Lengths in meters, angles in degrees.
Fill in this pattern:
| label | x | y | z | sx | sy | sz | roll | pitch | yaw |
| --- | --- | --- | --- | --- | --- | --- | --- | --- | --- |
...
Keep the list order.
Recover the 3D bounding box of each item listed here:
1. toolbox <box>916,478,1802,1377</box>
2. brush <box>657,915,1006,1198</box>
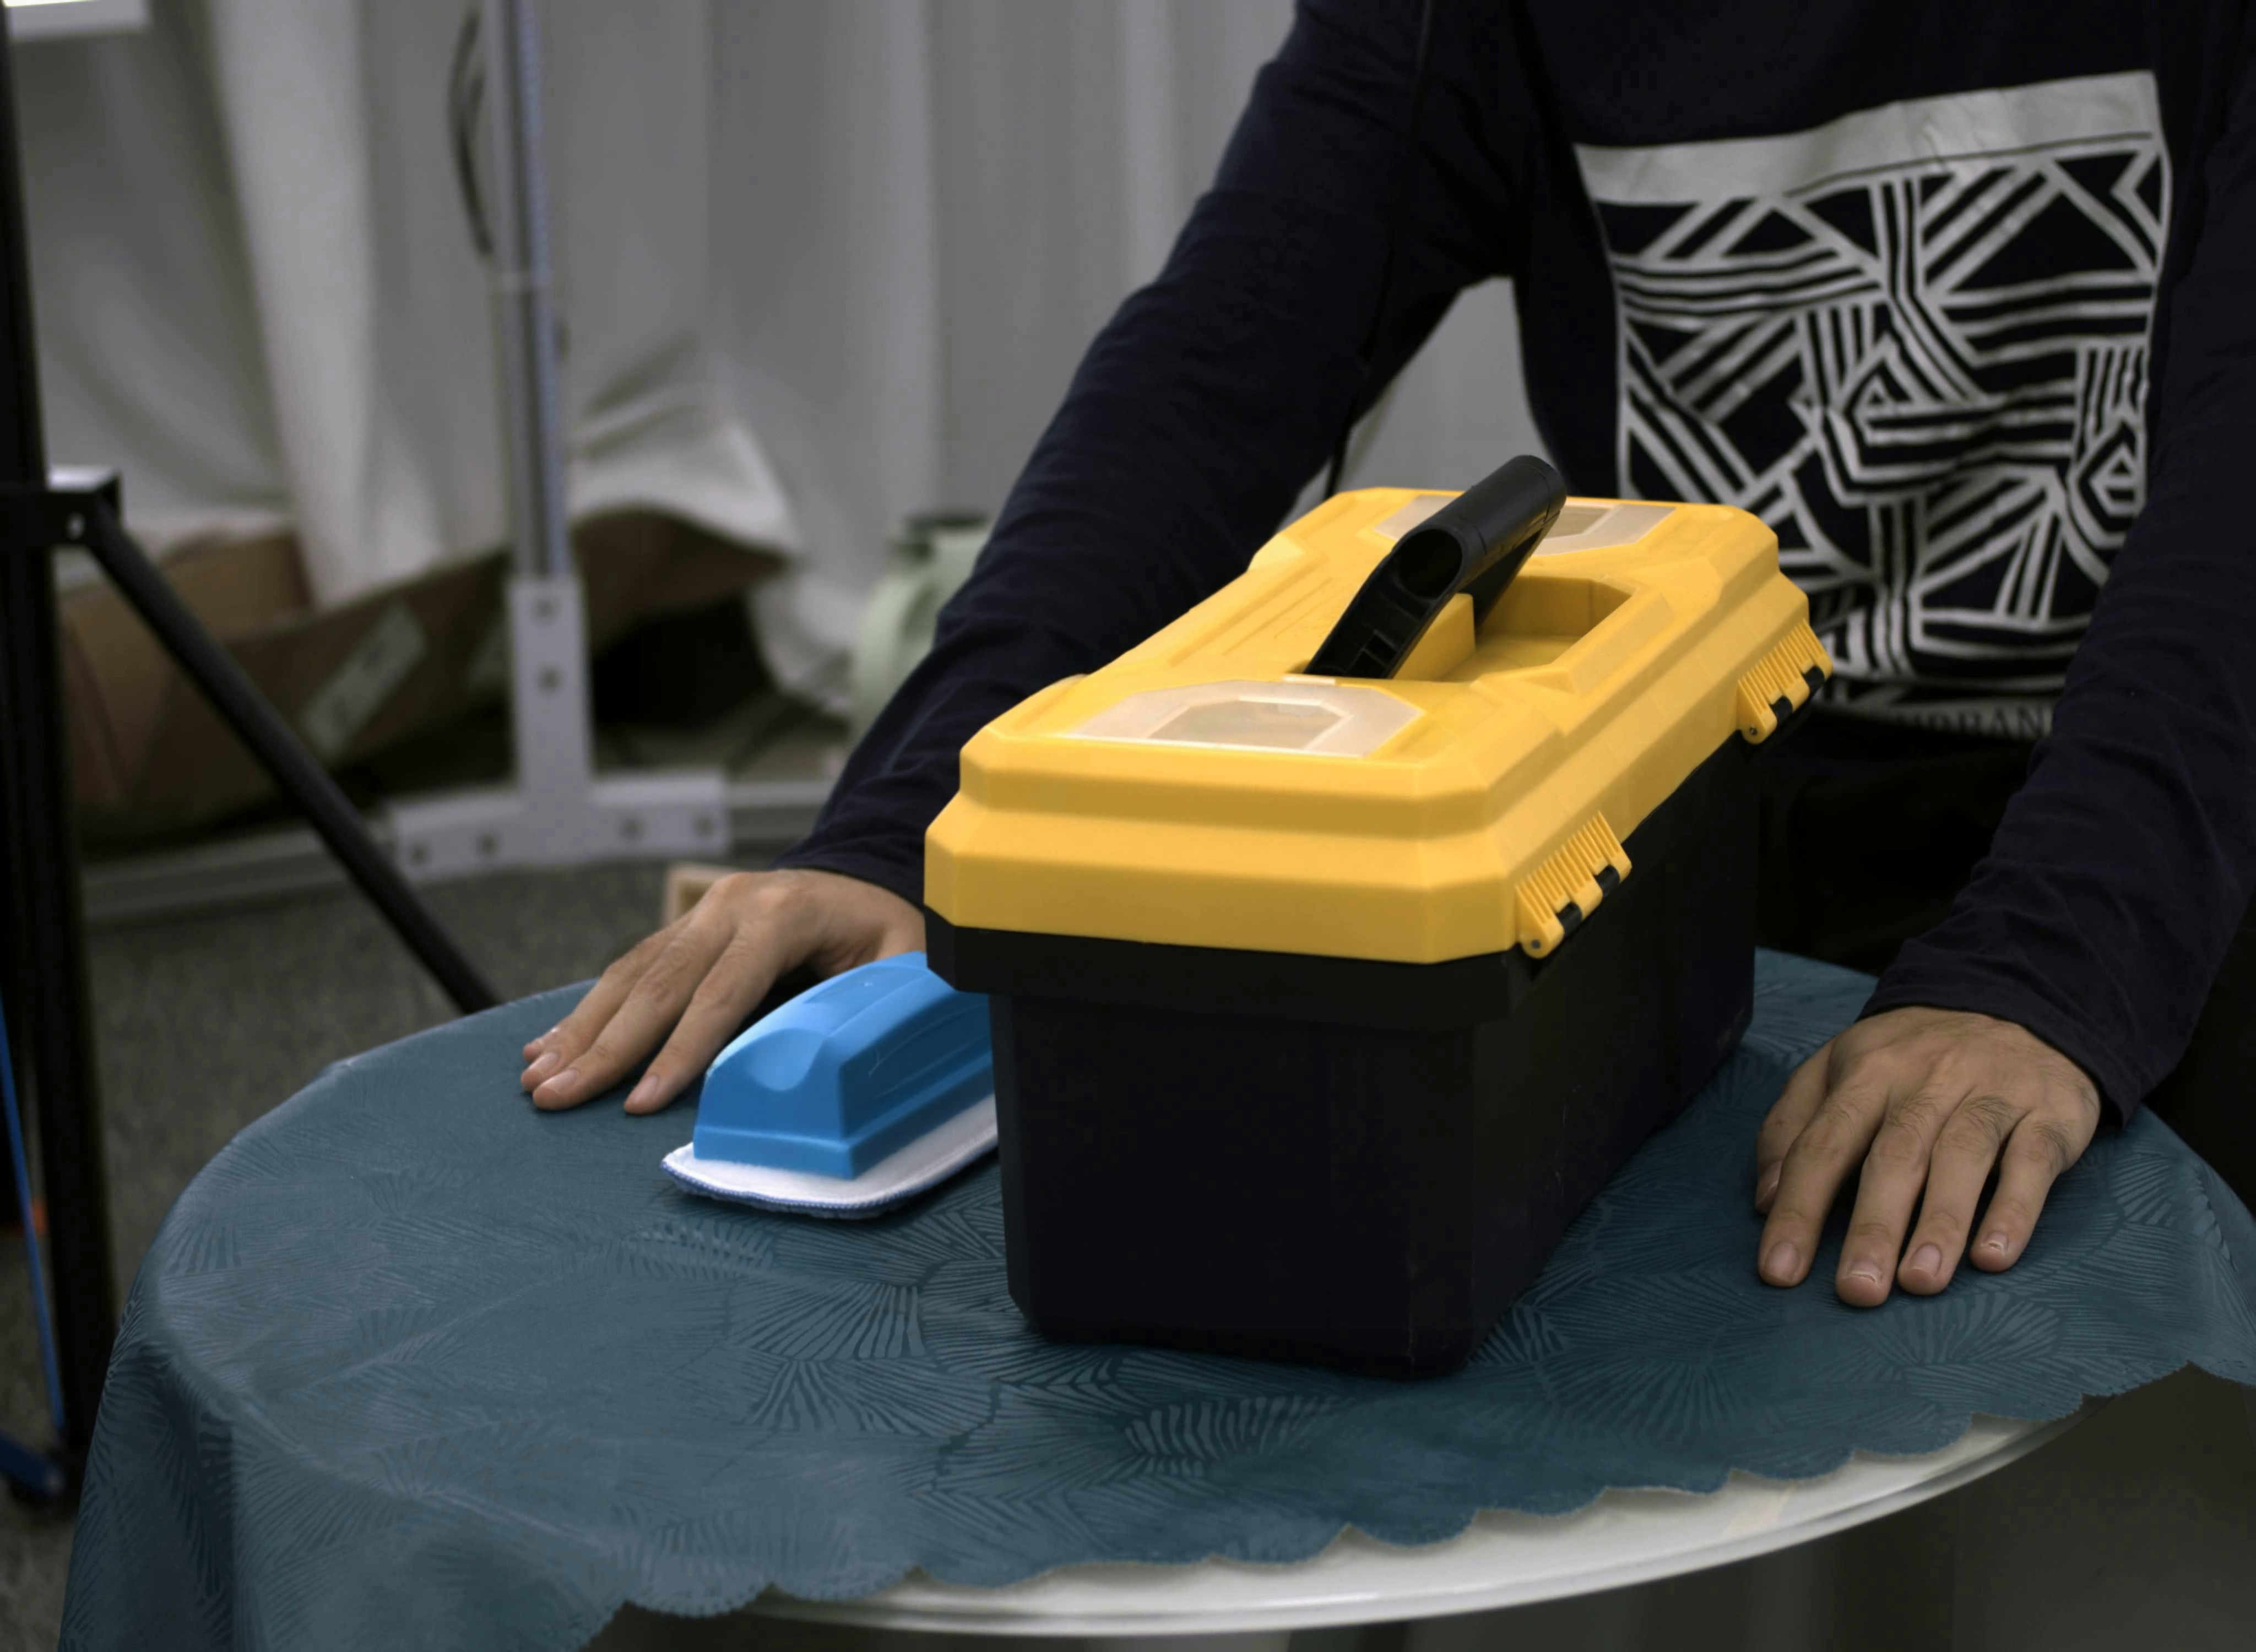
| label | x | y | z | sx | sy | sz | roll | pitch | yaw |
| --- | --- | --- | --- | --- | --- | --- | --- | --- | --- |
| toolbox | 0.077 | 0.020 | 1.541 | 0.183 | 0.173 | 0.347 | 4 | 17 | 21 |
| brush | -0.075 | 0.066 | 1.611 | 0.085 | 0.056 | 0.141 | 10 | 22 | 30 |
